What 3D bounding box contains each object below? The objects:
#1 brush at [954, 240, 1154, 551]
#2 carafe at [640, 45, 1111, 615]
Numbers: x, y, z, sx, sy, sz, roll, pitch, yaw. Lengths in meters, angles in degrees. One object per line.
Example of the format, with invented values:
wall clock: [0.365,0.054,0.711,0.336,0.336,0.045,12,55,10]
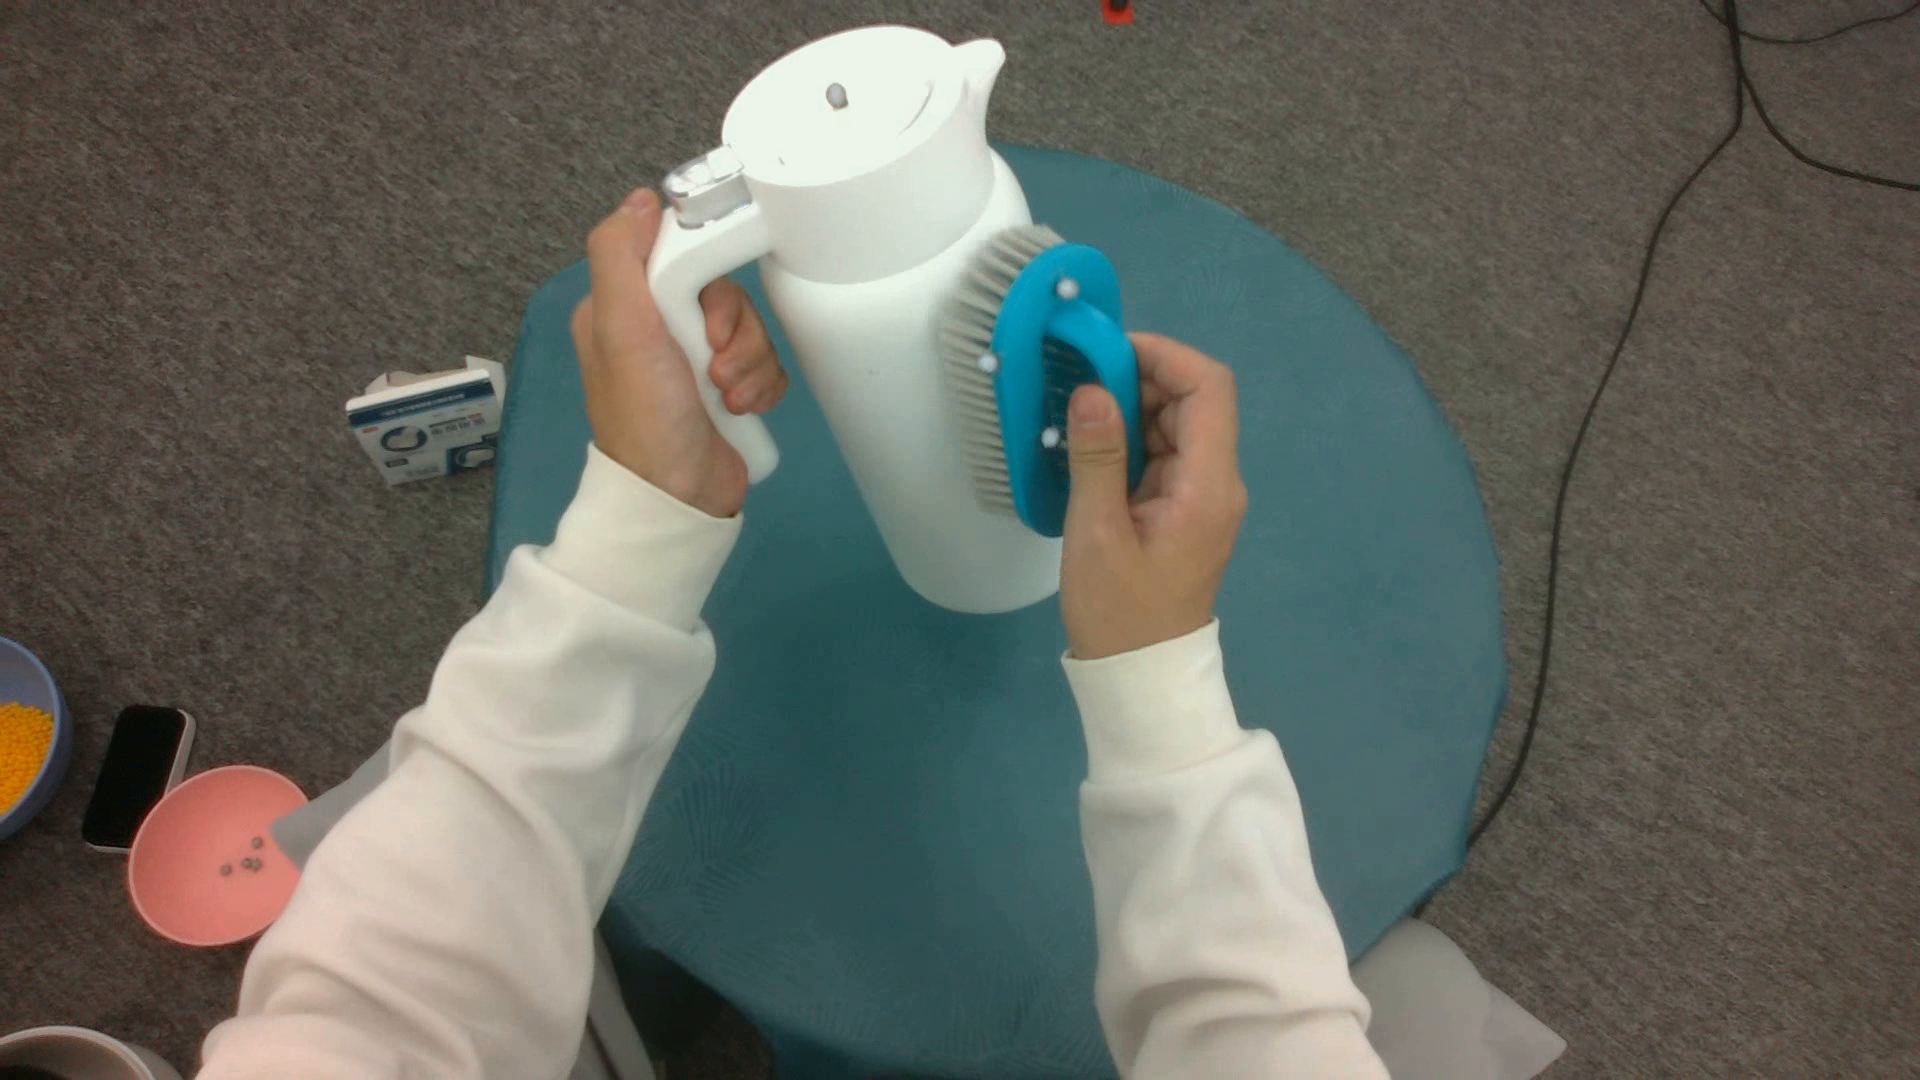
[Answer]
brush: [0.050,-0.057,0.579,0.064,0.141,0.085,23,51,32]
carafe: [-0.026,-0.075,0.638,0.173,0.268,0.124,-30,50,-5]
